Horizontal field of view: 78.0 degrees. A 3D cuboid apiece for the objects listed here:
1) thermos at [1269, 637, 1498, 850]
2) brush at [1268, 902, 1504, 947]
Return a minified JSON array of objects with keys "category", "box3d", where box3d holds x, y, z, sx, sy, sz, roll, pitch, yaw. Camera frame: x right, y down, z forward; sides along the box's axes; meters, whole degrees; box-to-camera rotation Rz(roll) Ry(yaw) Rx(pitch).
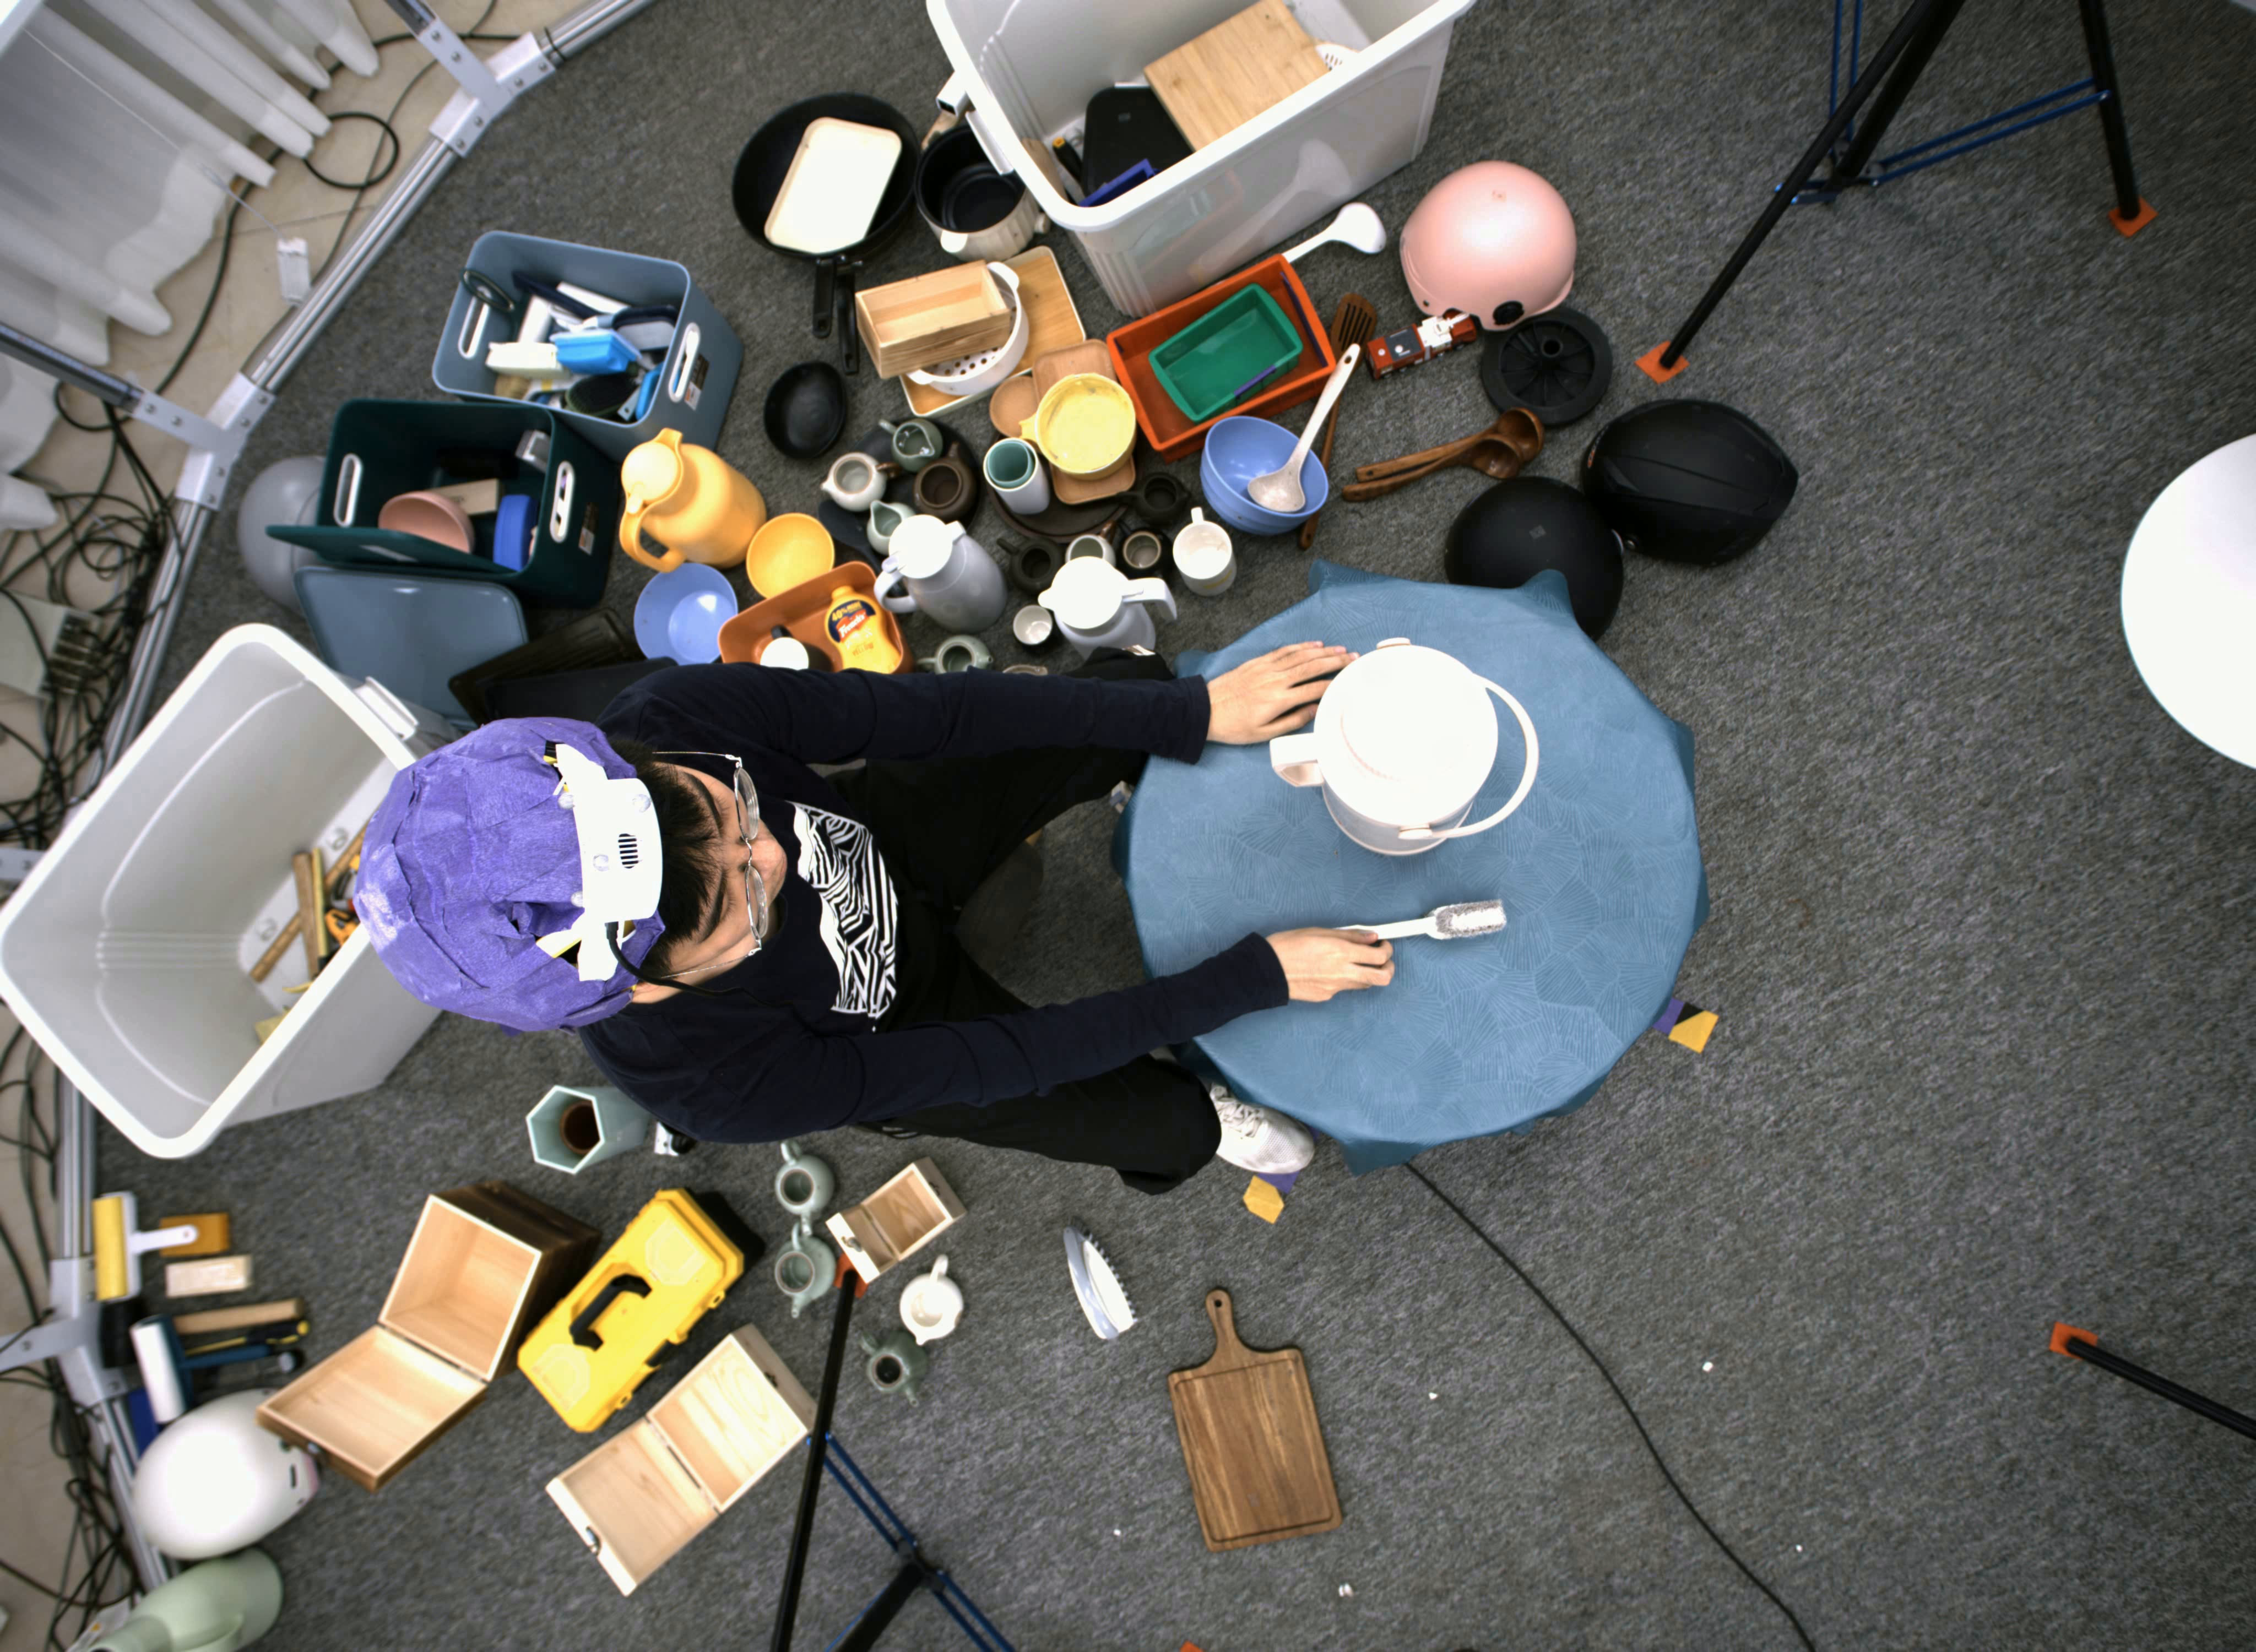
[{"category":"thermos","box3d":[0.239,-0.071,1.270,0.208,0.406,0.174,-7,85,9]},{"category":"brush","box3d":[0.265,0.104,1.433,0.245,0.050,0.034,-6,91,10]}]
